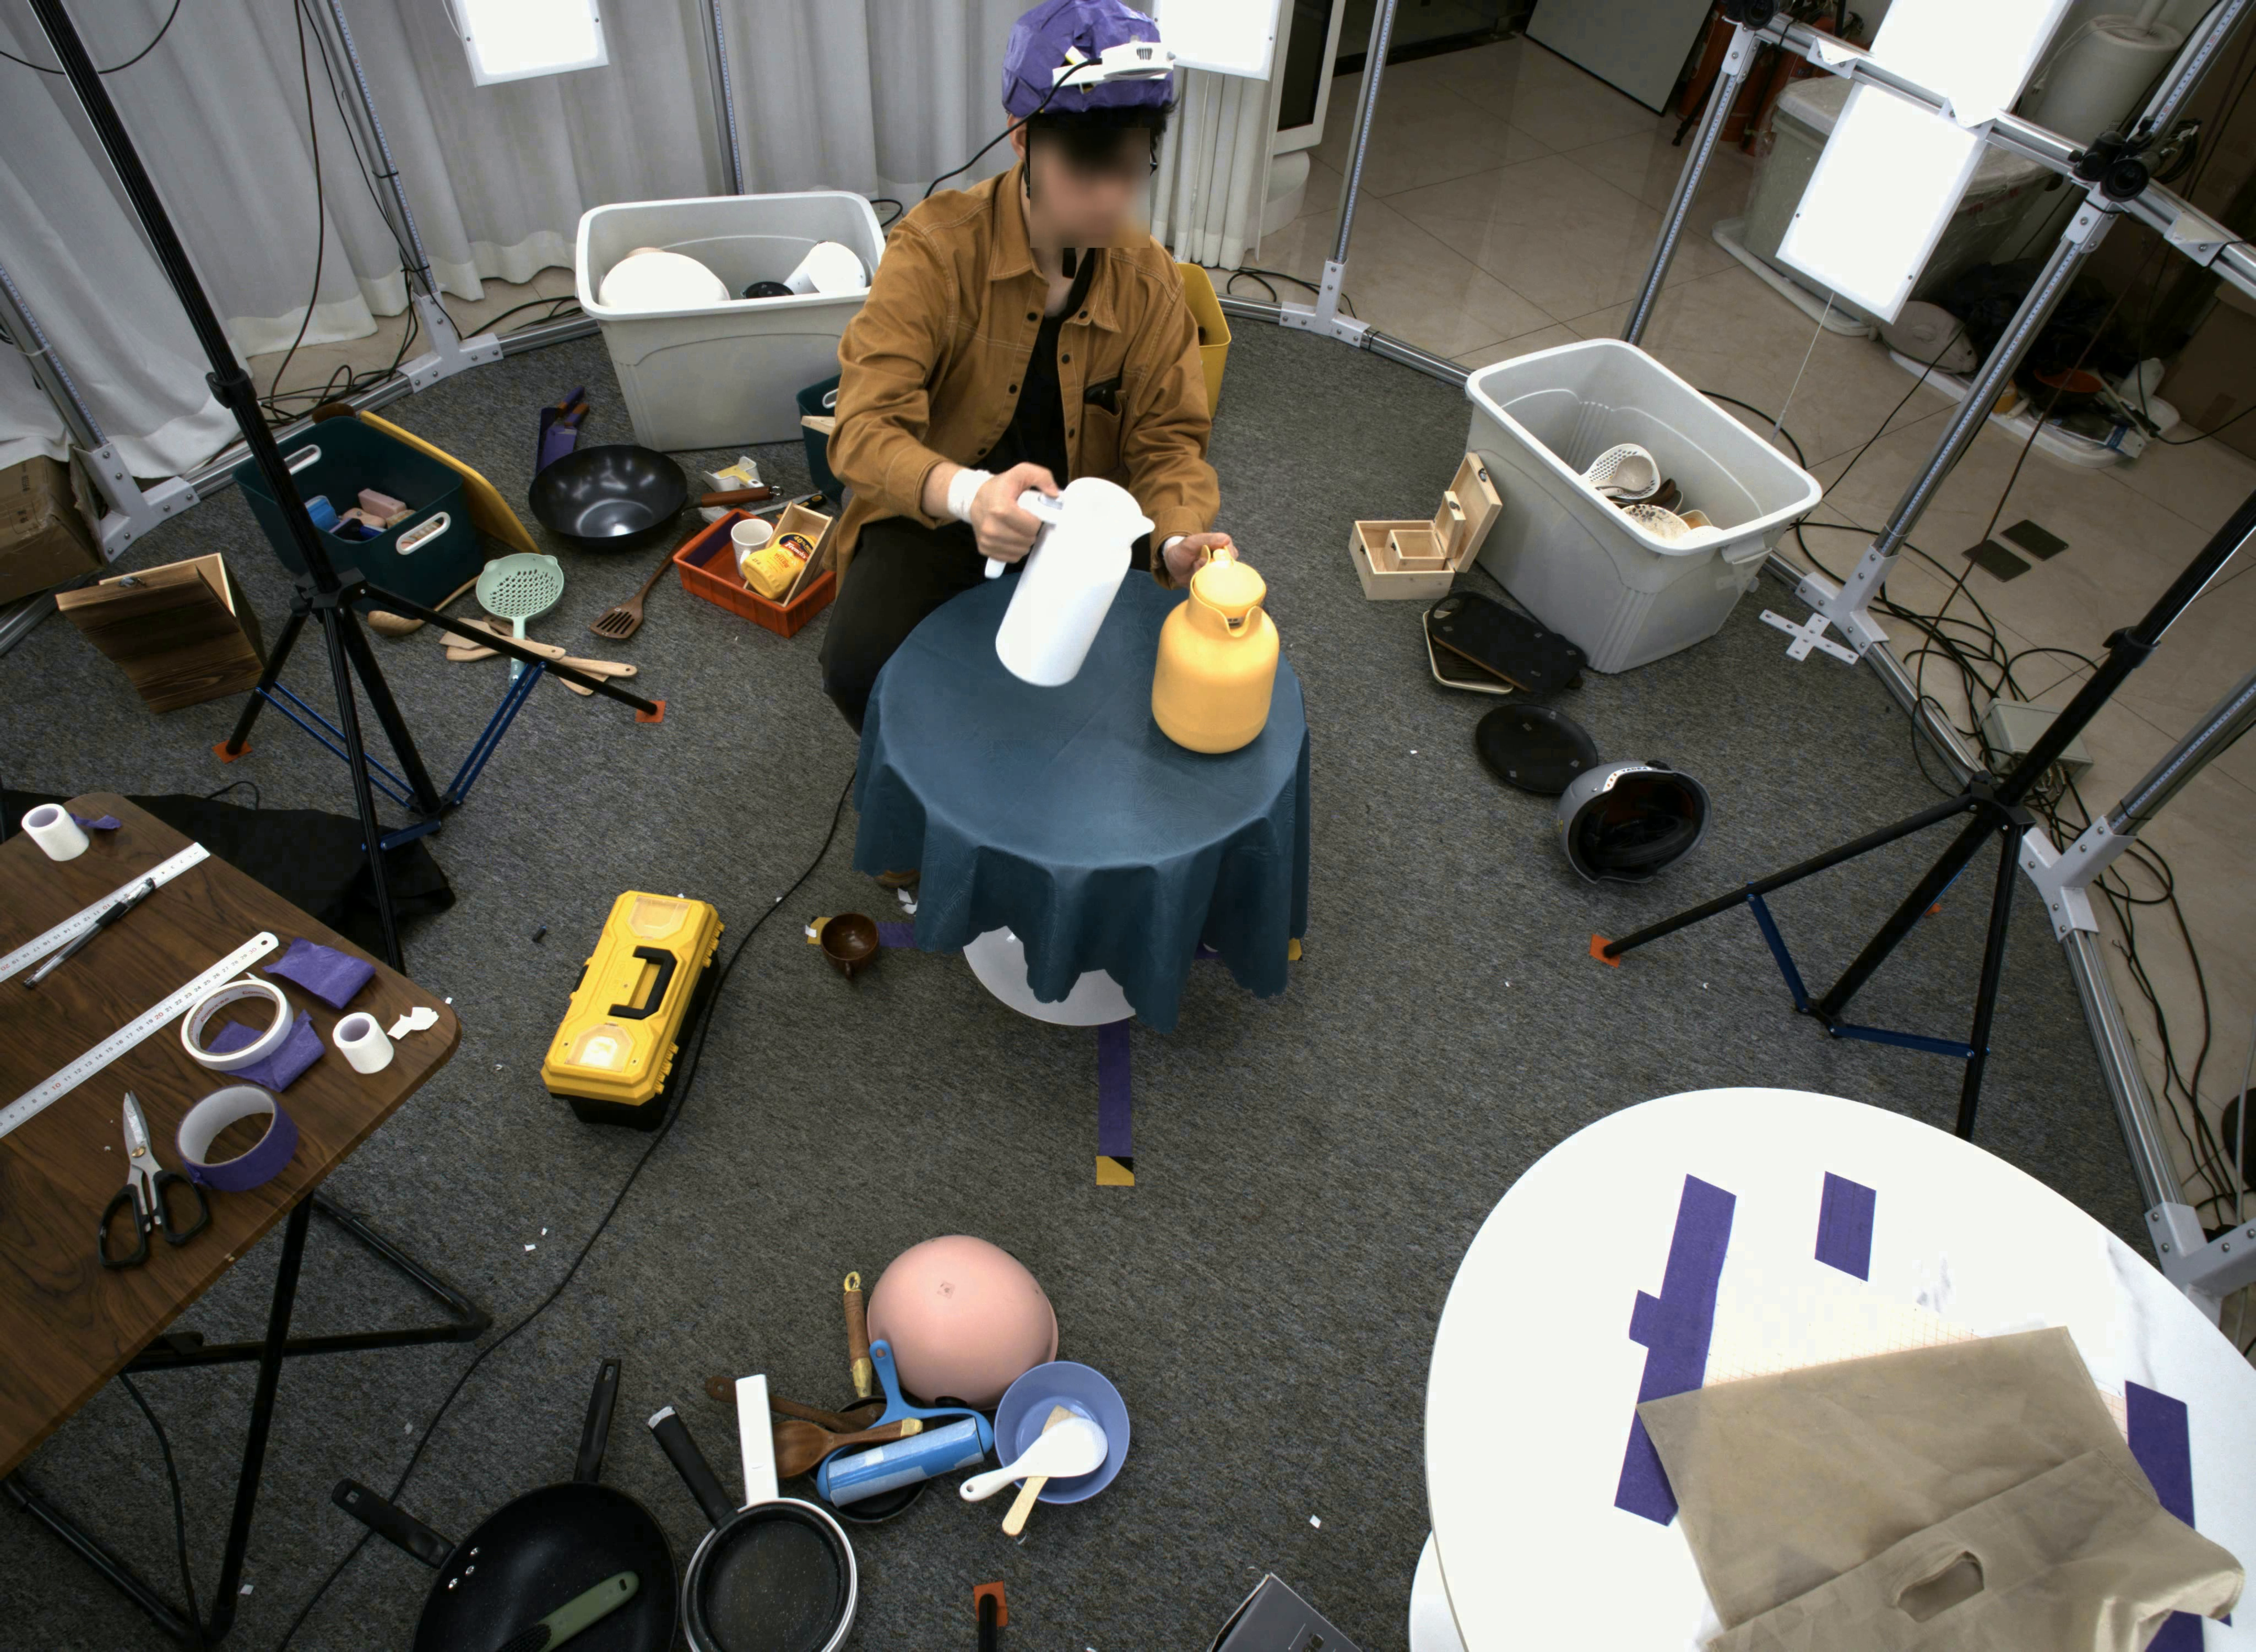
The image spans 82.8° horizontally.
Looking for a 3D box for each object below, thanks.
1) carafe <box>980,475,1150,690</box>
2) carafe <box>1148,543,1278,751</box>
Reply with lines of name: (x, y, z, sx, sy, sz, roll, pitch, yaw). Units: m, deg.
carafe: (-0.095, -0.299, 1.592, 0.172, 0.264, 0.127, 12, 51, -15)
carafe: (0.117, -0.247, 1.720, 0.163, 0.254, 0.207, 1, 51, -7)
